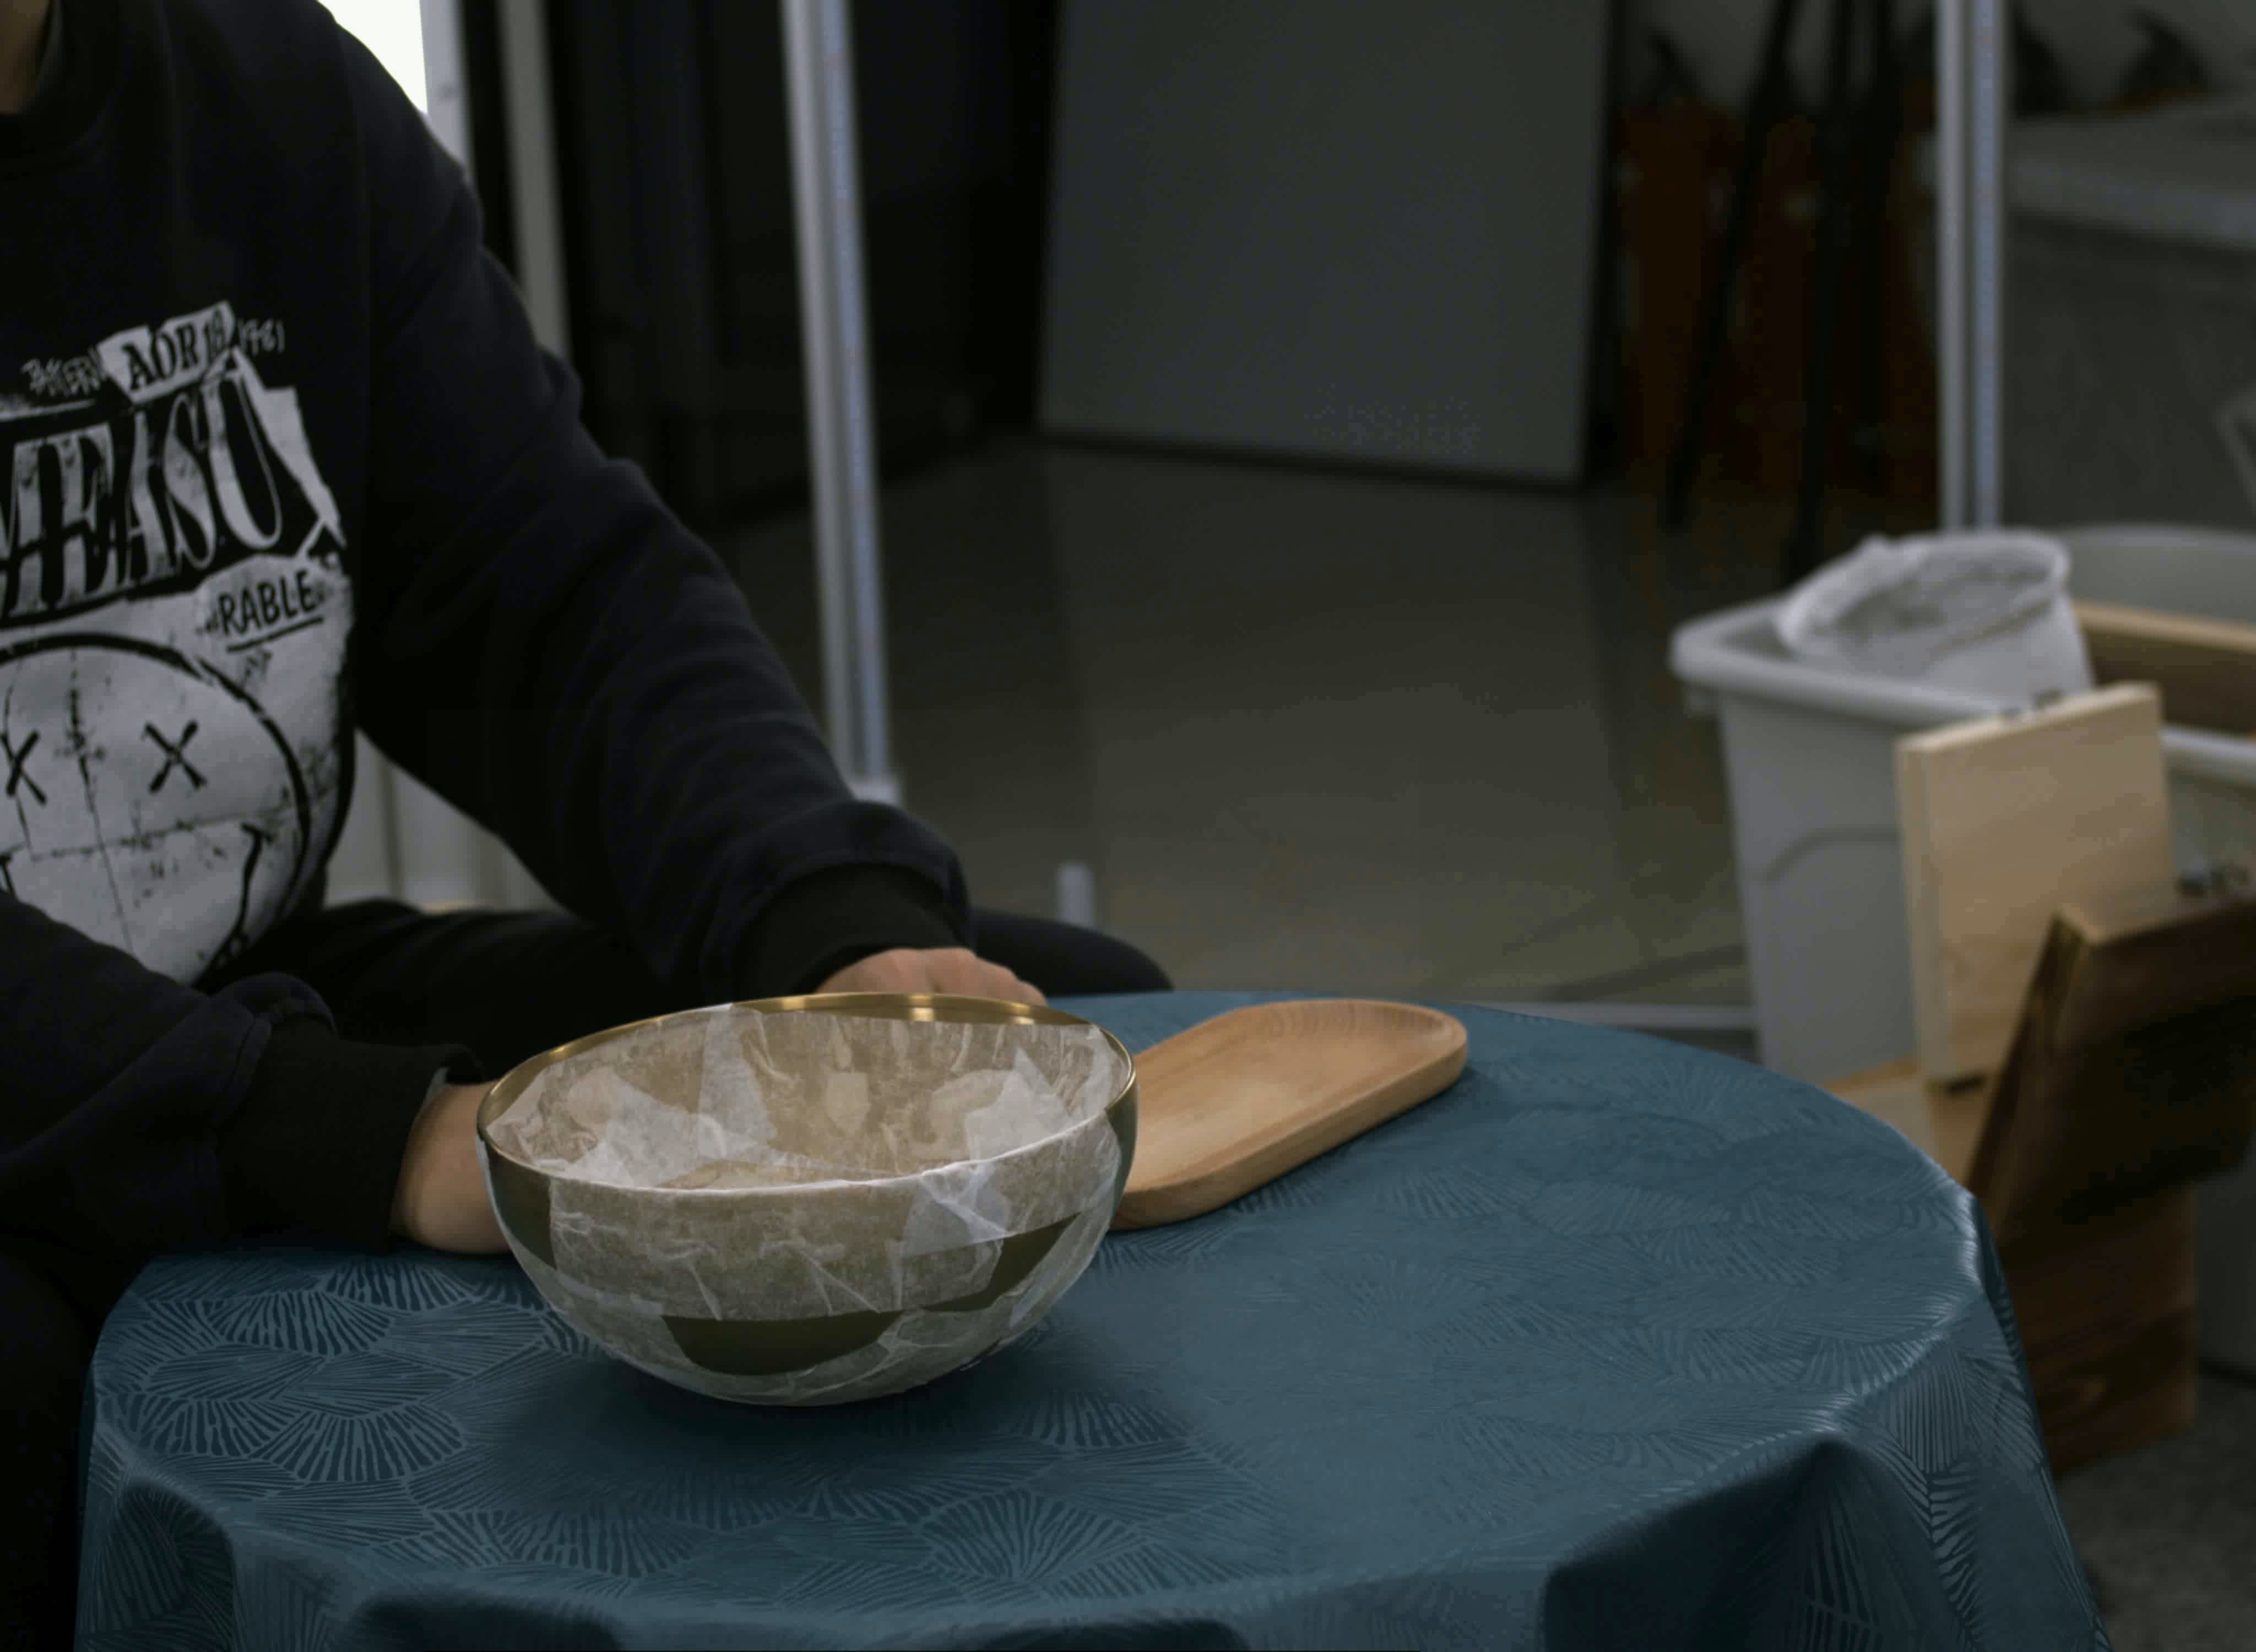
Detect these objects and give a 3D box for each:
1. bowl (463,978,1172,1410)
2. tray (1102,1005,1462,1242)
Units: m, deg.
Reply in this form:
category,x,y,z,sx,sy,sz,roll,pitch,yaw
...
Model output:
category,x,y,z,sx,sy,sz,roll,pitch,yaw
bowl,-0.090,0.118,1.616,0.212,0.095,0.215,-5,14,0
tray,0.031,0.099,1.820,0.102,0.020,0.227,3,17,35
